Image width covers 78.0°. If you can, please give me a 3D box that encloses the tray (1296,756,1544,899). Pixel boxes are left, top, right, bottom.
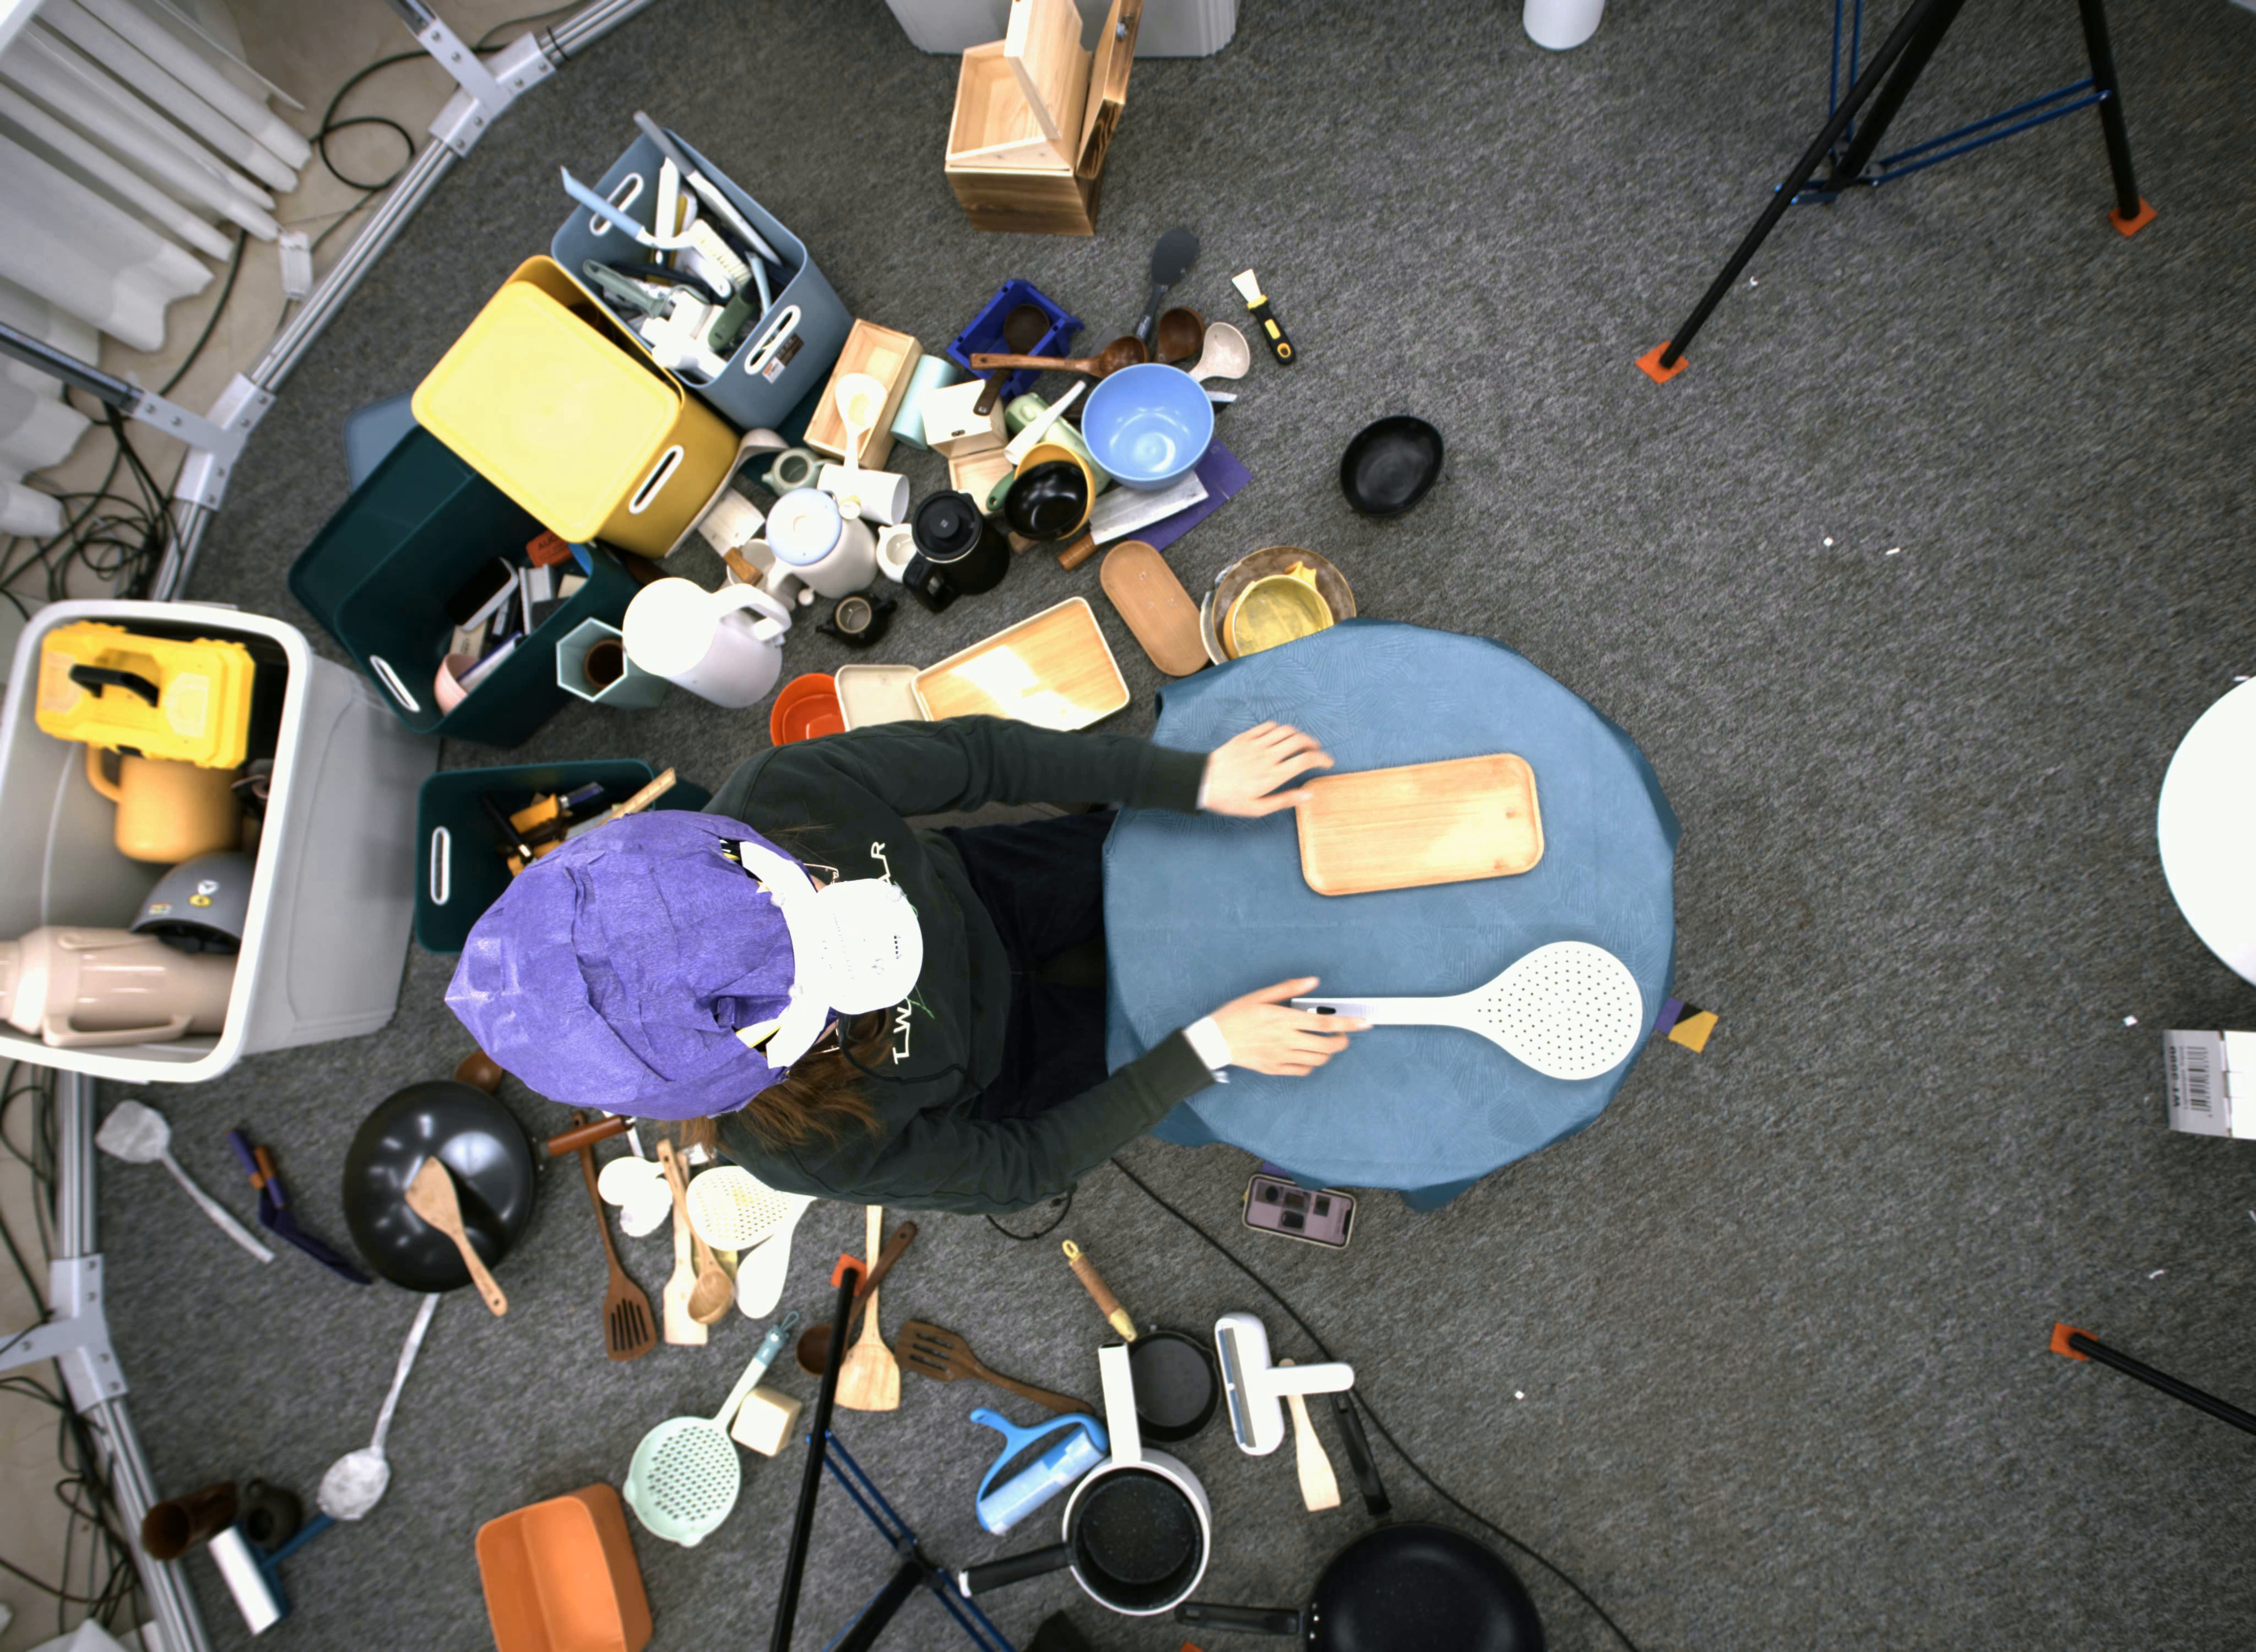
[{"bbox_3d":[0.306,0.001,1.455,0.252,0.023,0.129,-7,83,11],"label":"tray"}]

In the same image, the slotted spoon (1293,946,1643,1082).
[{"bbox_3d":[0.344,0.191,1.420,0.351,0.046,0.135,-1,84,11],"label":"slotted spoon"}]
